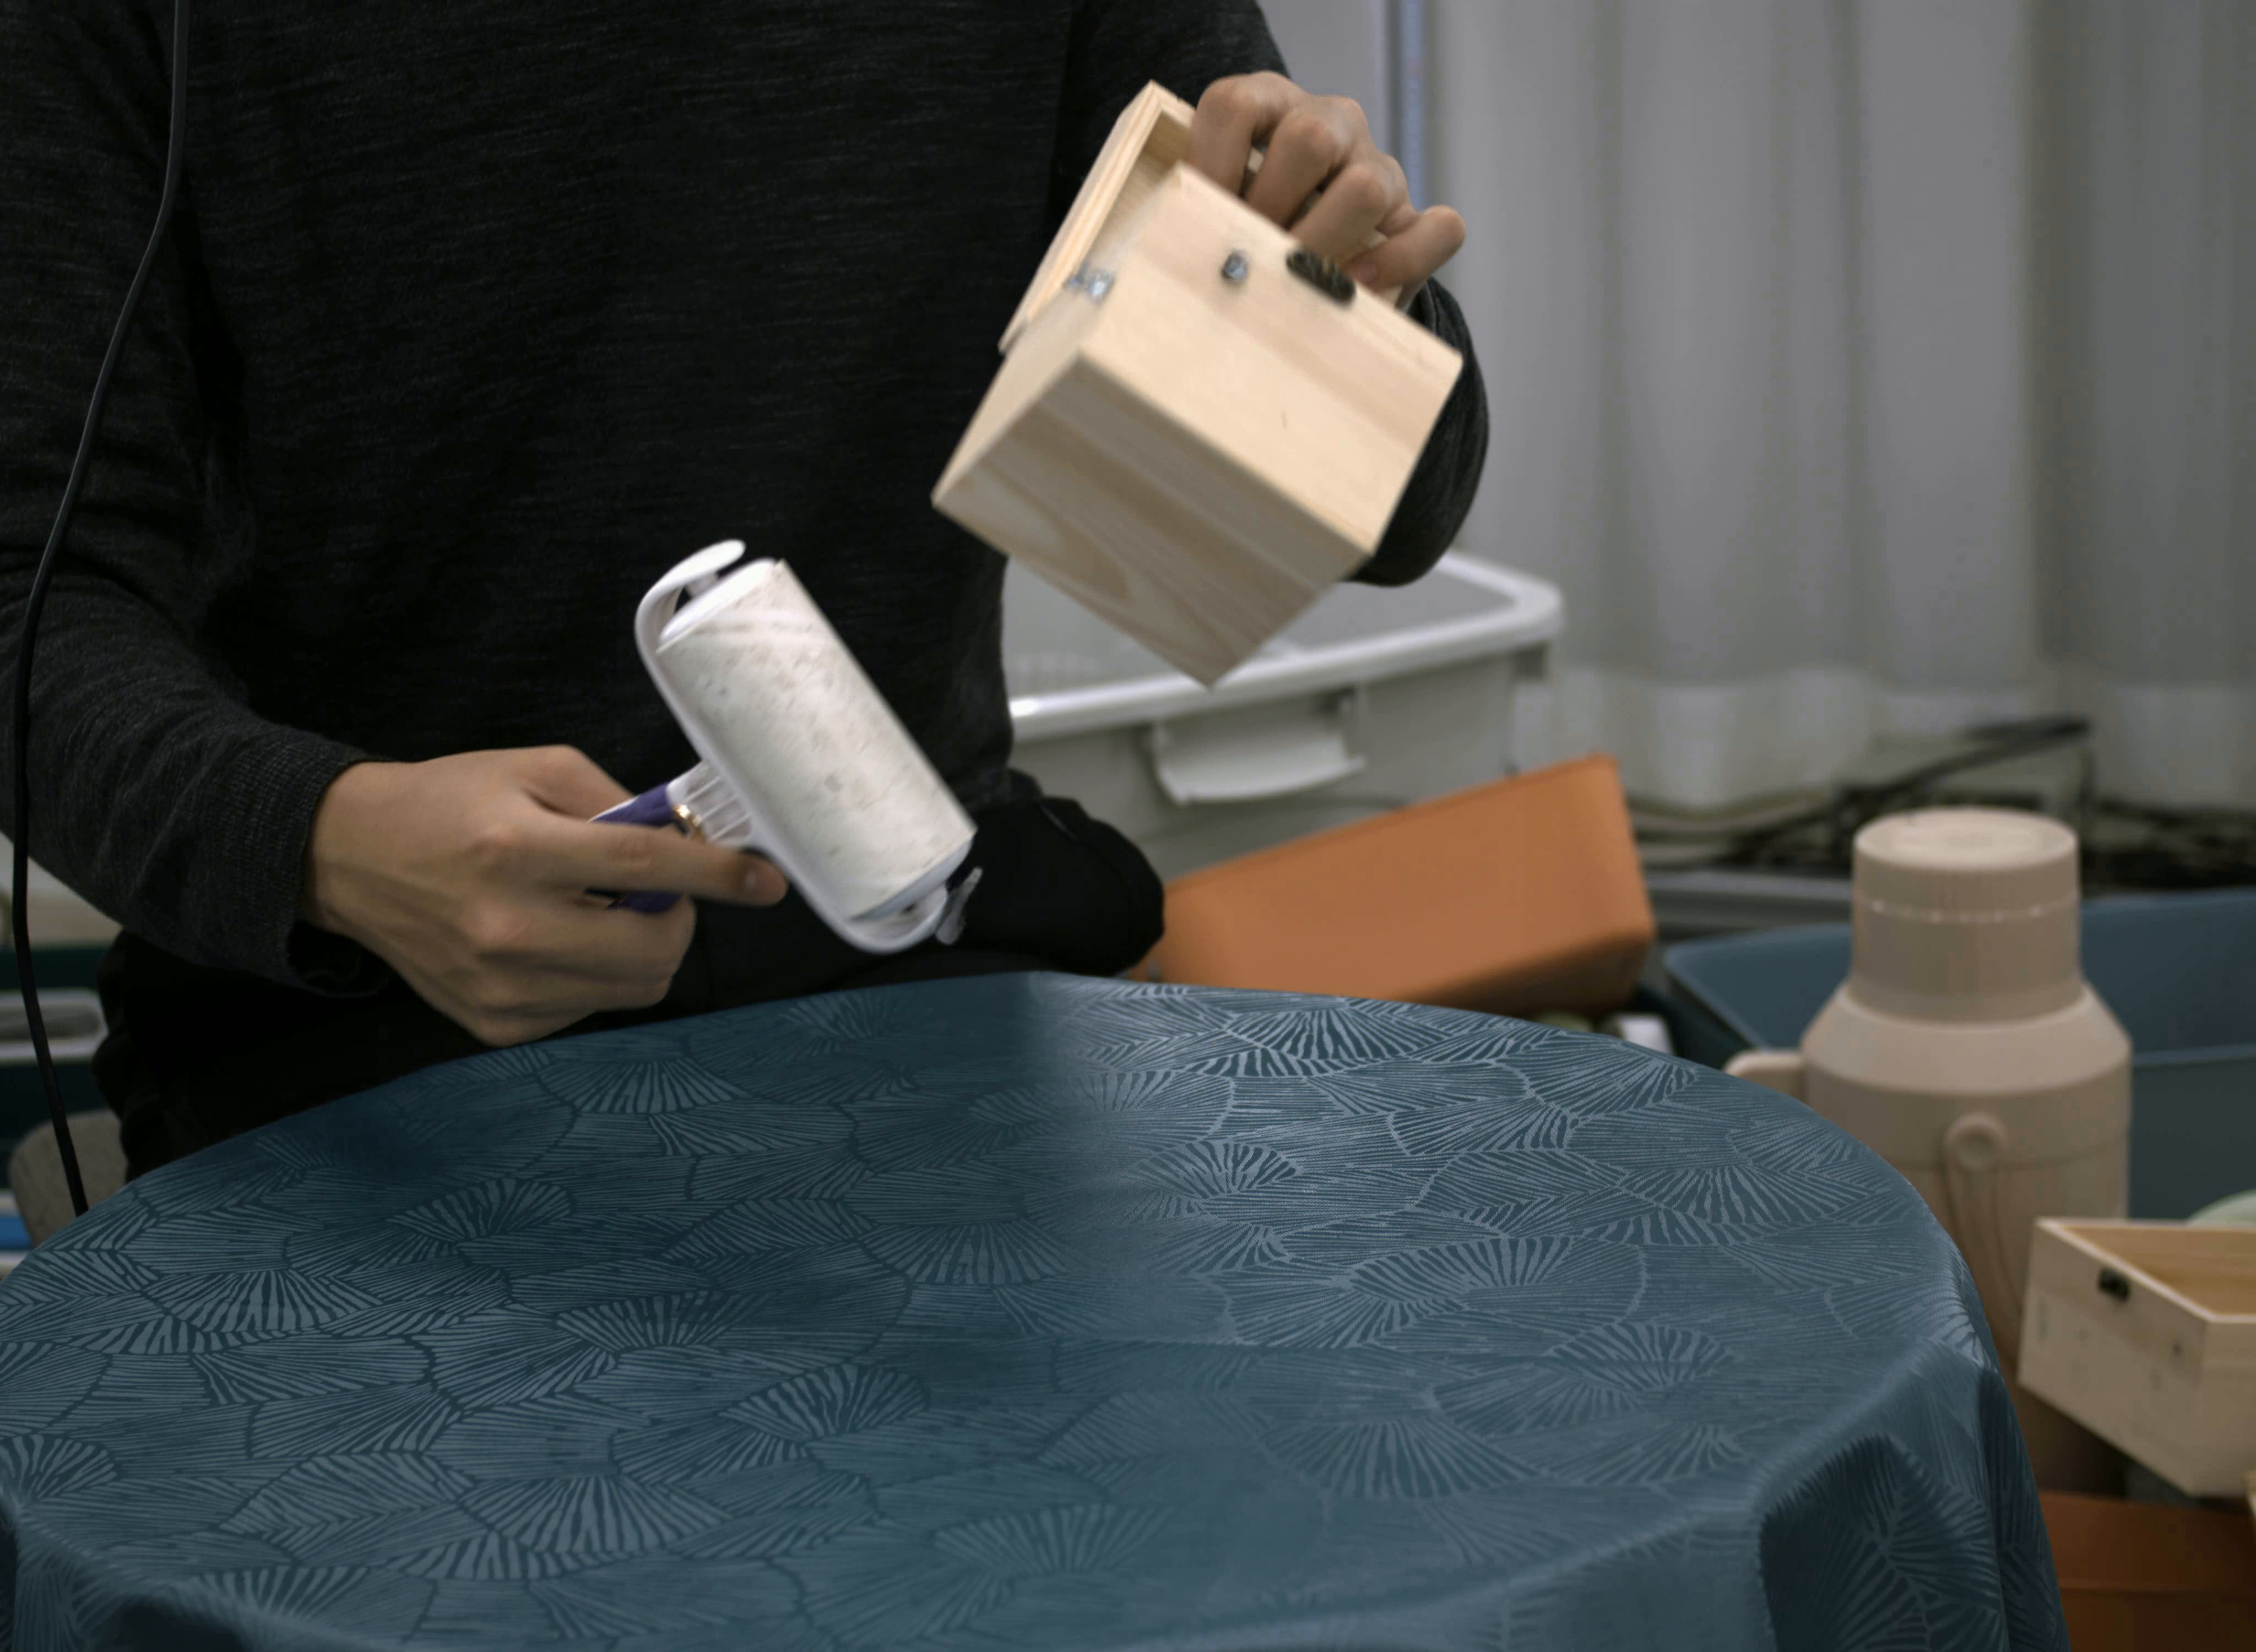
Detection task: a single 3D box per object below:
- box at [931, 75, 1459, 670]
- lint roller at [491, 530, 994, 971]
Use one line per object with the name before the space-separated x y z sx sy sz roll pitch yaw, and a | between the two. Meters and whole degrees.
box | 0.035 -0.155 1.618 0.133 0.102 0.186 -41 17 53
lint roller | -0.137 0.000 1.650 0.180 0.132 0.050 -32 7 28
